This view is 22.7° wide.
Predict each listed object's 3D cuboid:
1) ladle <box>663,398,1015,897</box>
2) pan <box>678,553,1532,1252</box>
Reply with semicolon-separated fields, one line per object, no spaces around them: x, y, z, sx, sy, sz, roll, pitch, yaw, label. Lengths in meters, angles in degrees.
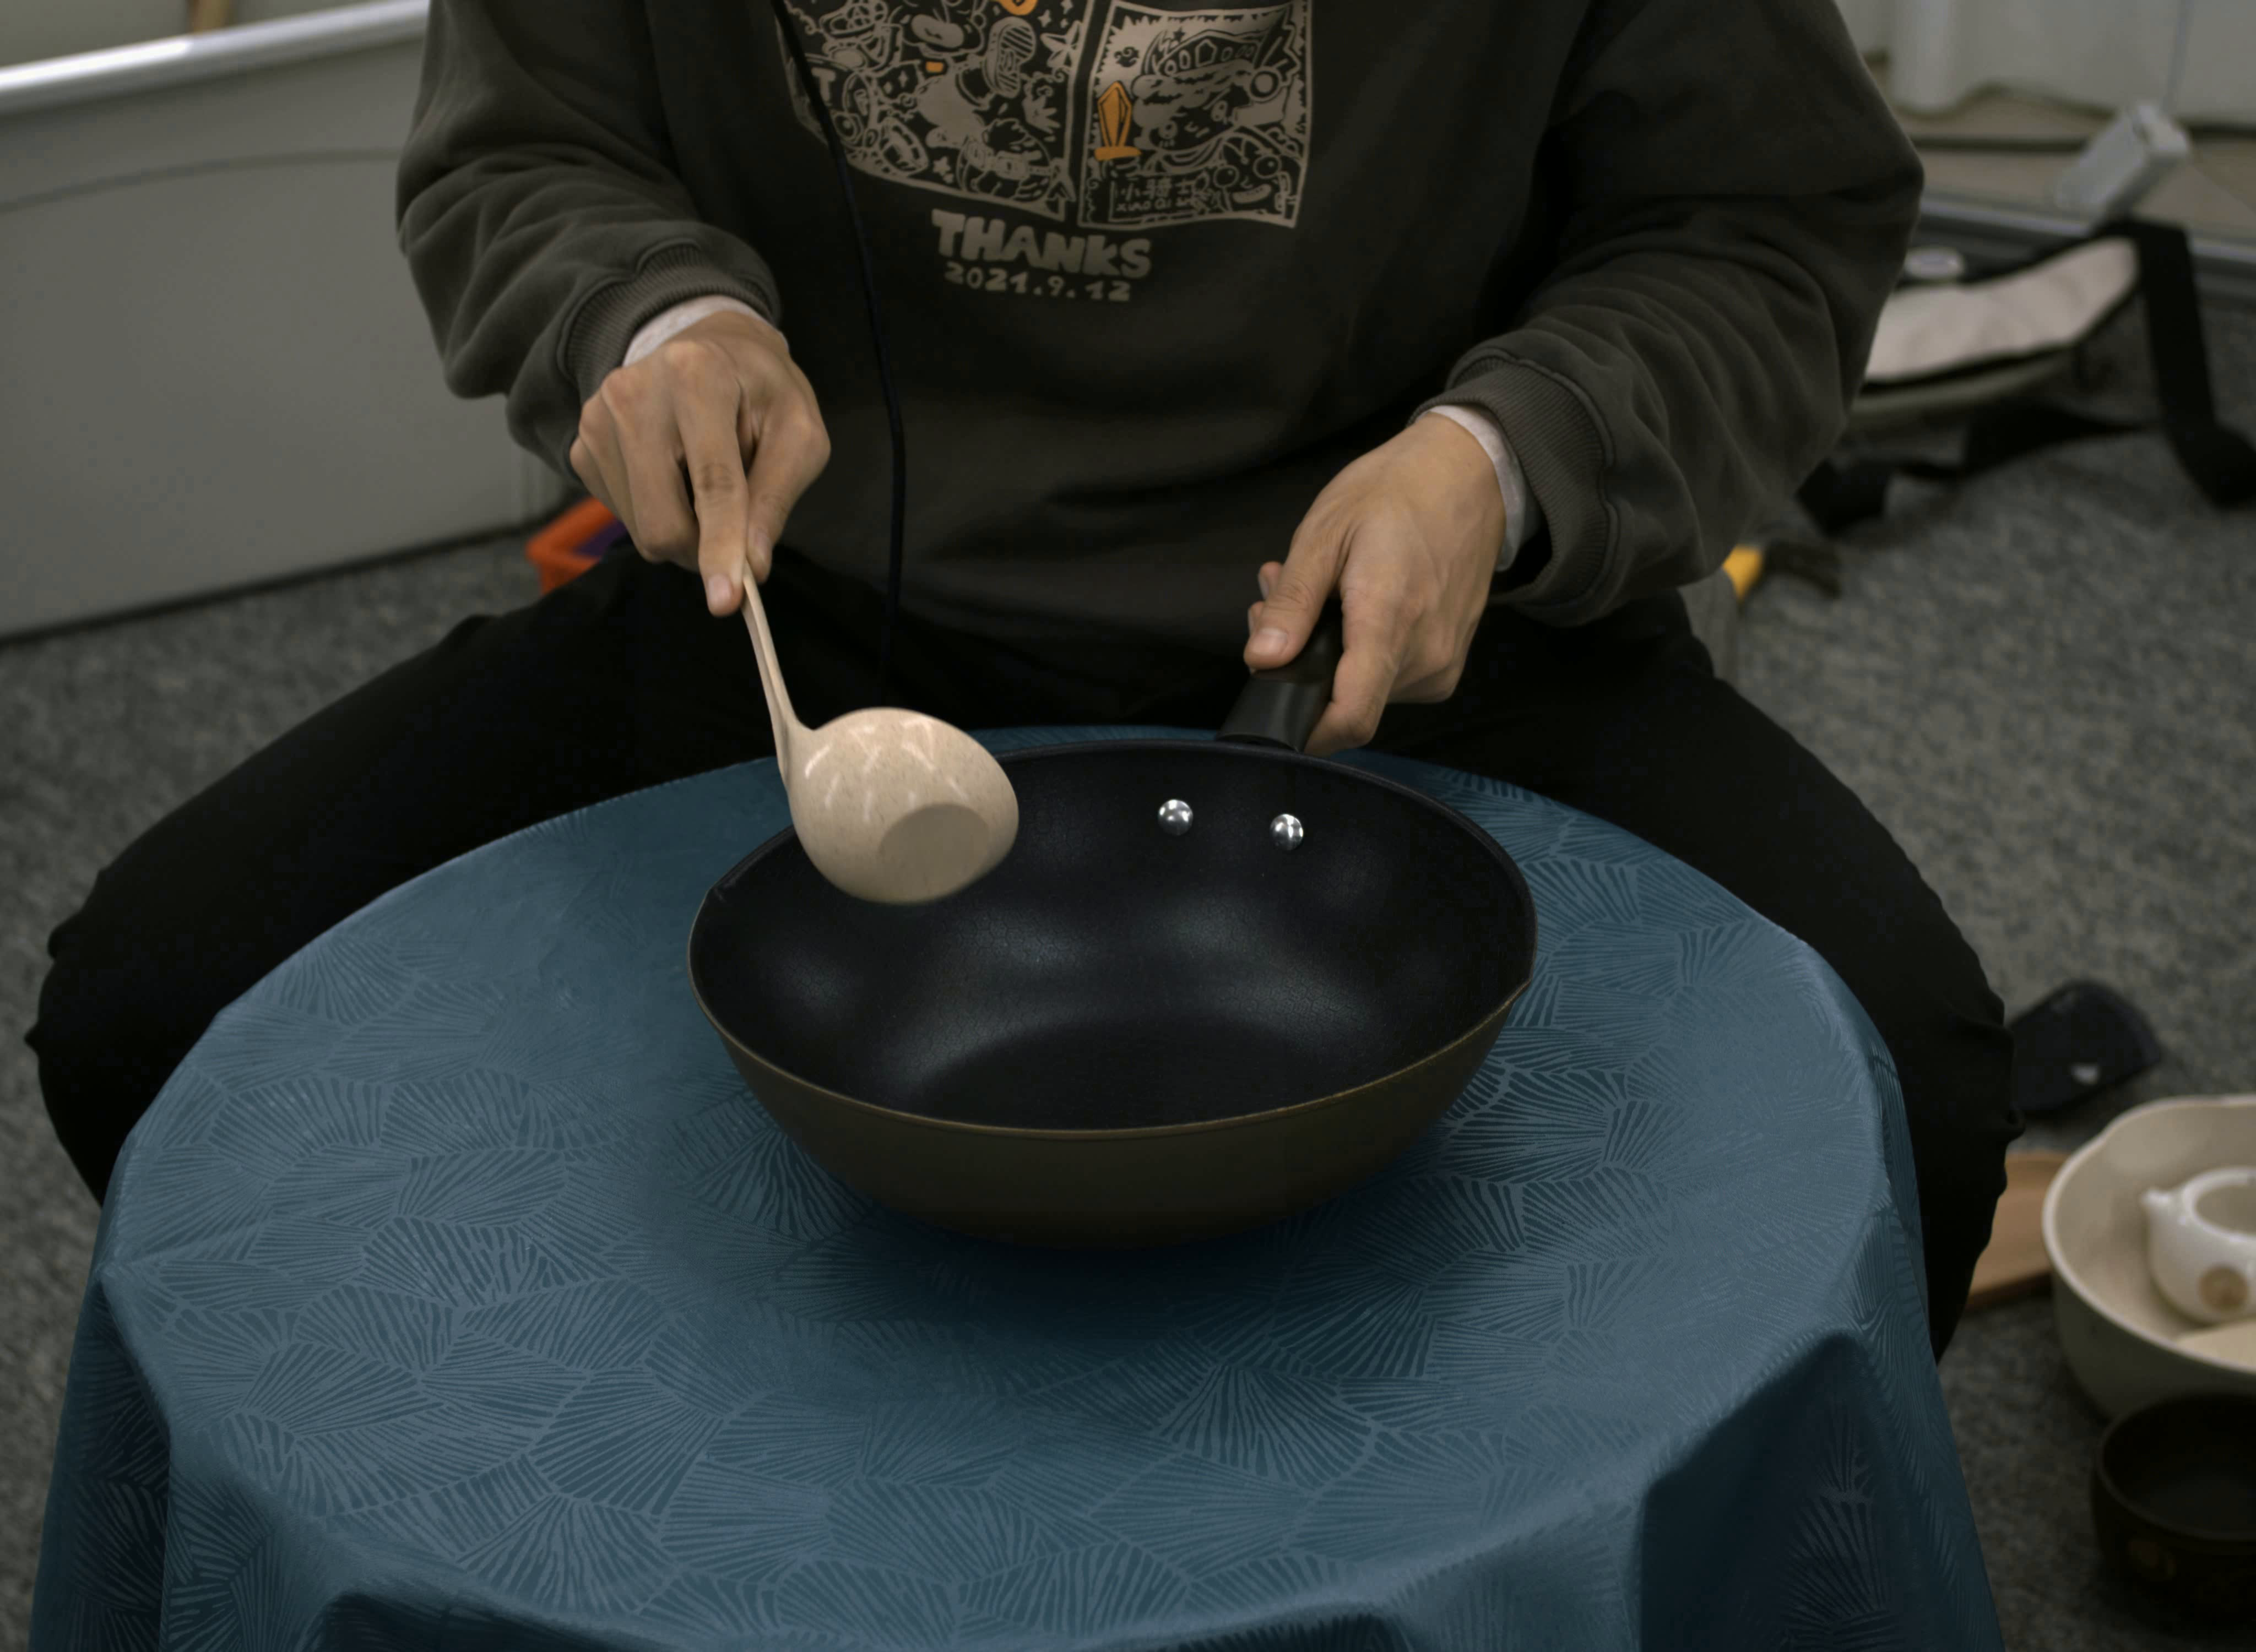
-0.100;-0.073;1.932;0.073;0.071;0.258;-7;41;-13;ladle
0.024;0.027;1.952;0.286;0.086;0.471;6;27;18;pan
